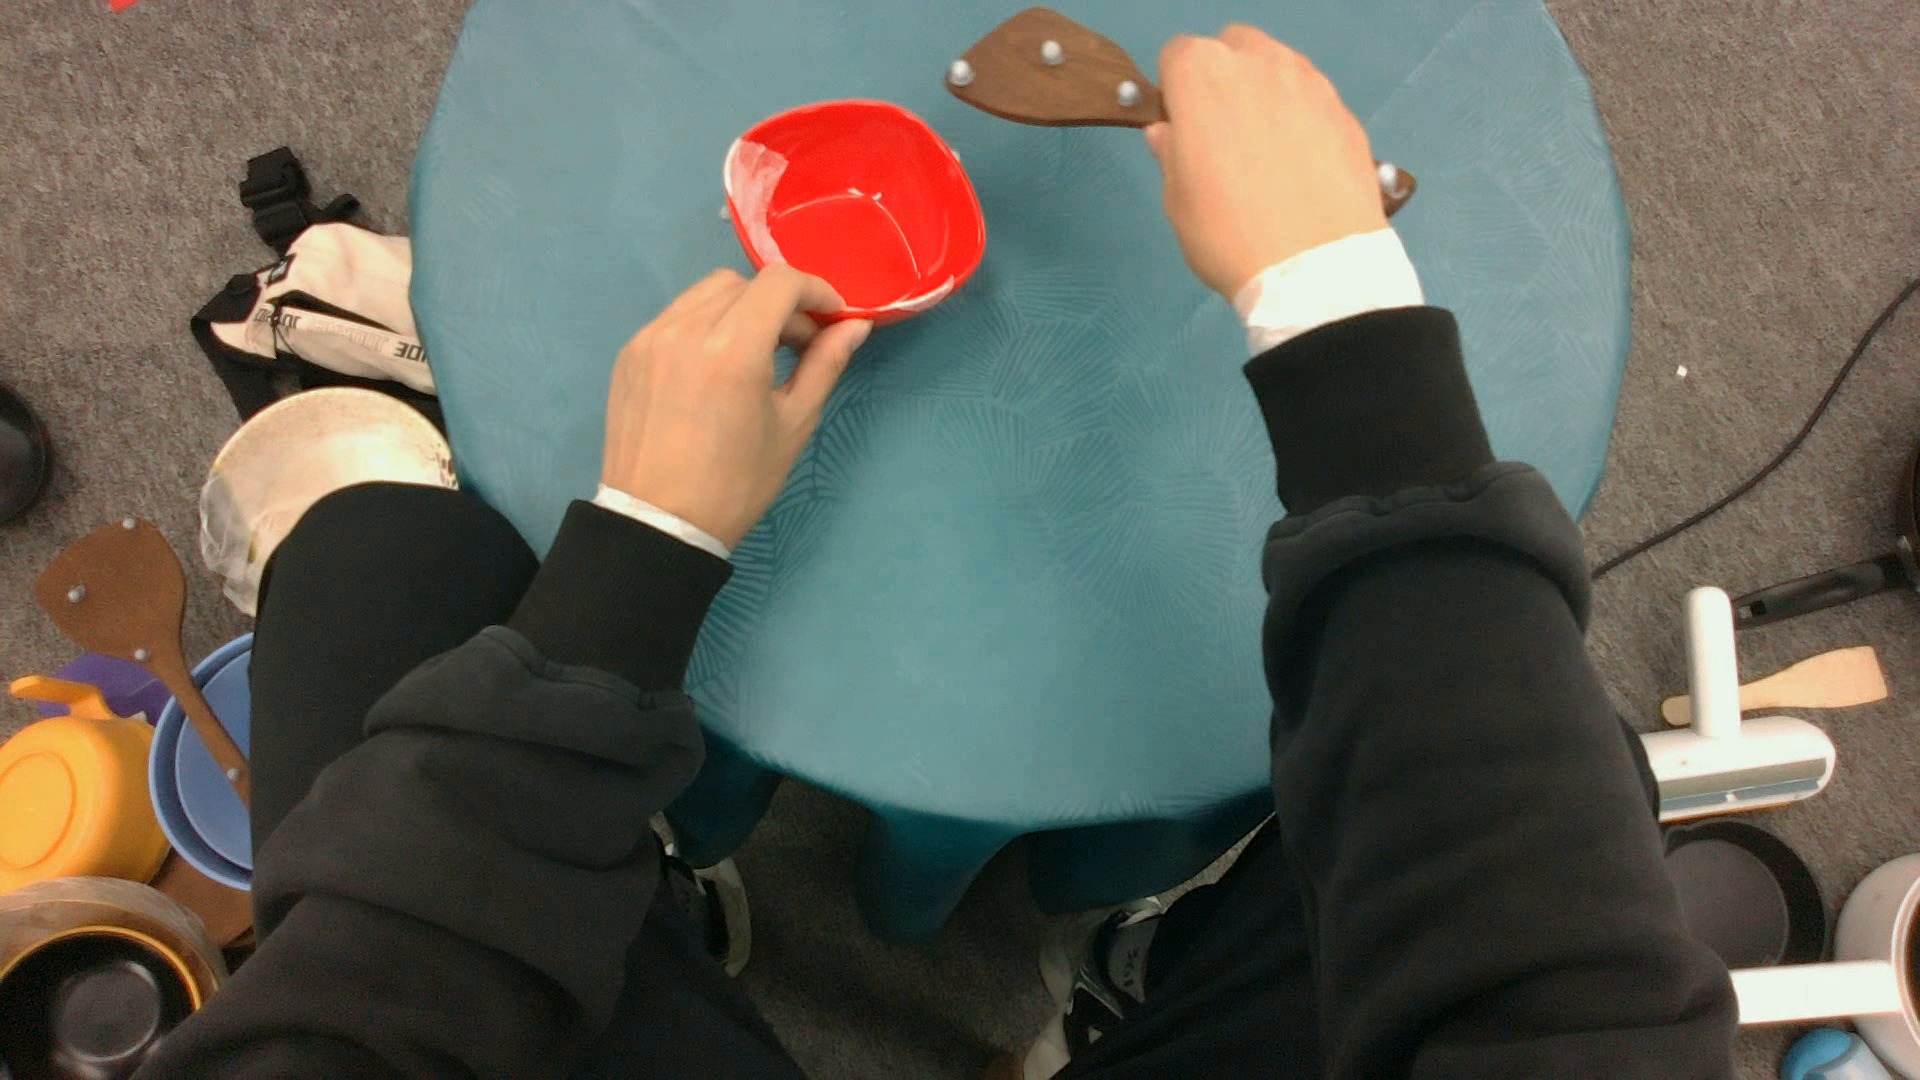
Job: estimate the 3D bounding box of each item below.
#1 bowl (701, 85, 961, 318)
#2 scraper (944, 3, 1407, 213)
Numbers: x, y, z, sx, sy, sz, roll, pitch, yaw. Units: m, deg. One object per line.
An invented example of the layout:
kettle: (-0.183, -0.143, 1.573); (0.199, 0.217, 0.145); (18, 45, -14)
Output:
bowl: (-0.062, -0.145, 0.628); (0.119, 0.051, 0.119); (7, 66, -16)
scraper: (0.089, -0.181, 0.581); (0.211, 0.011, 0.076); (32, 57, 28)
